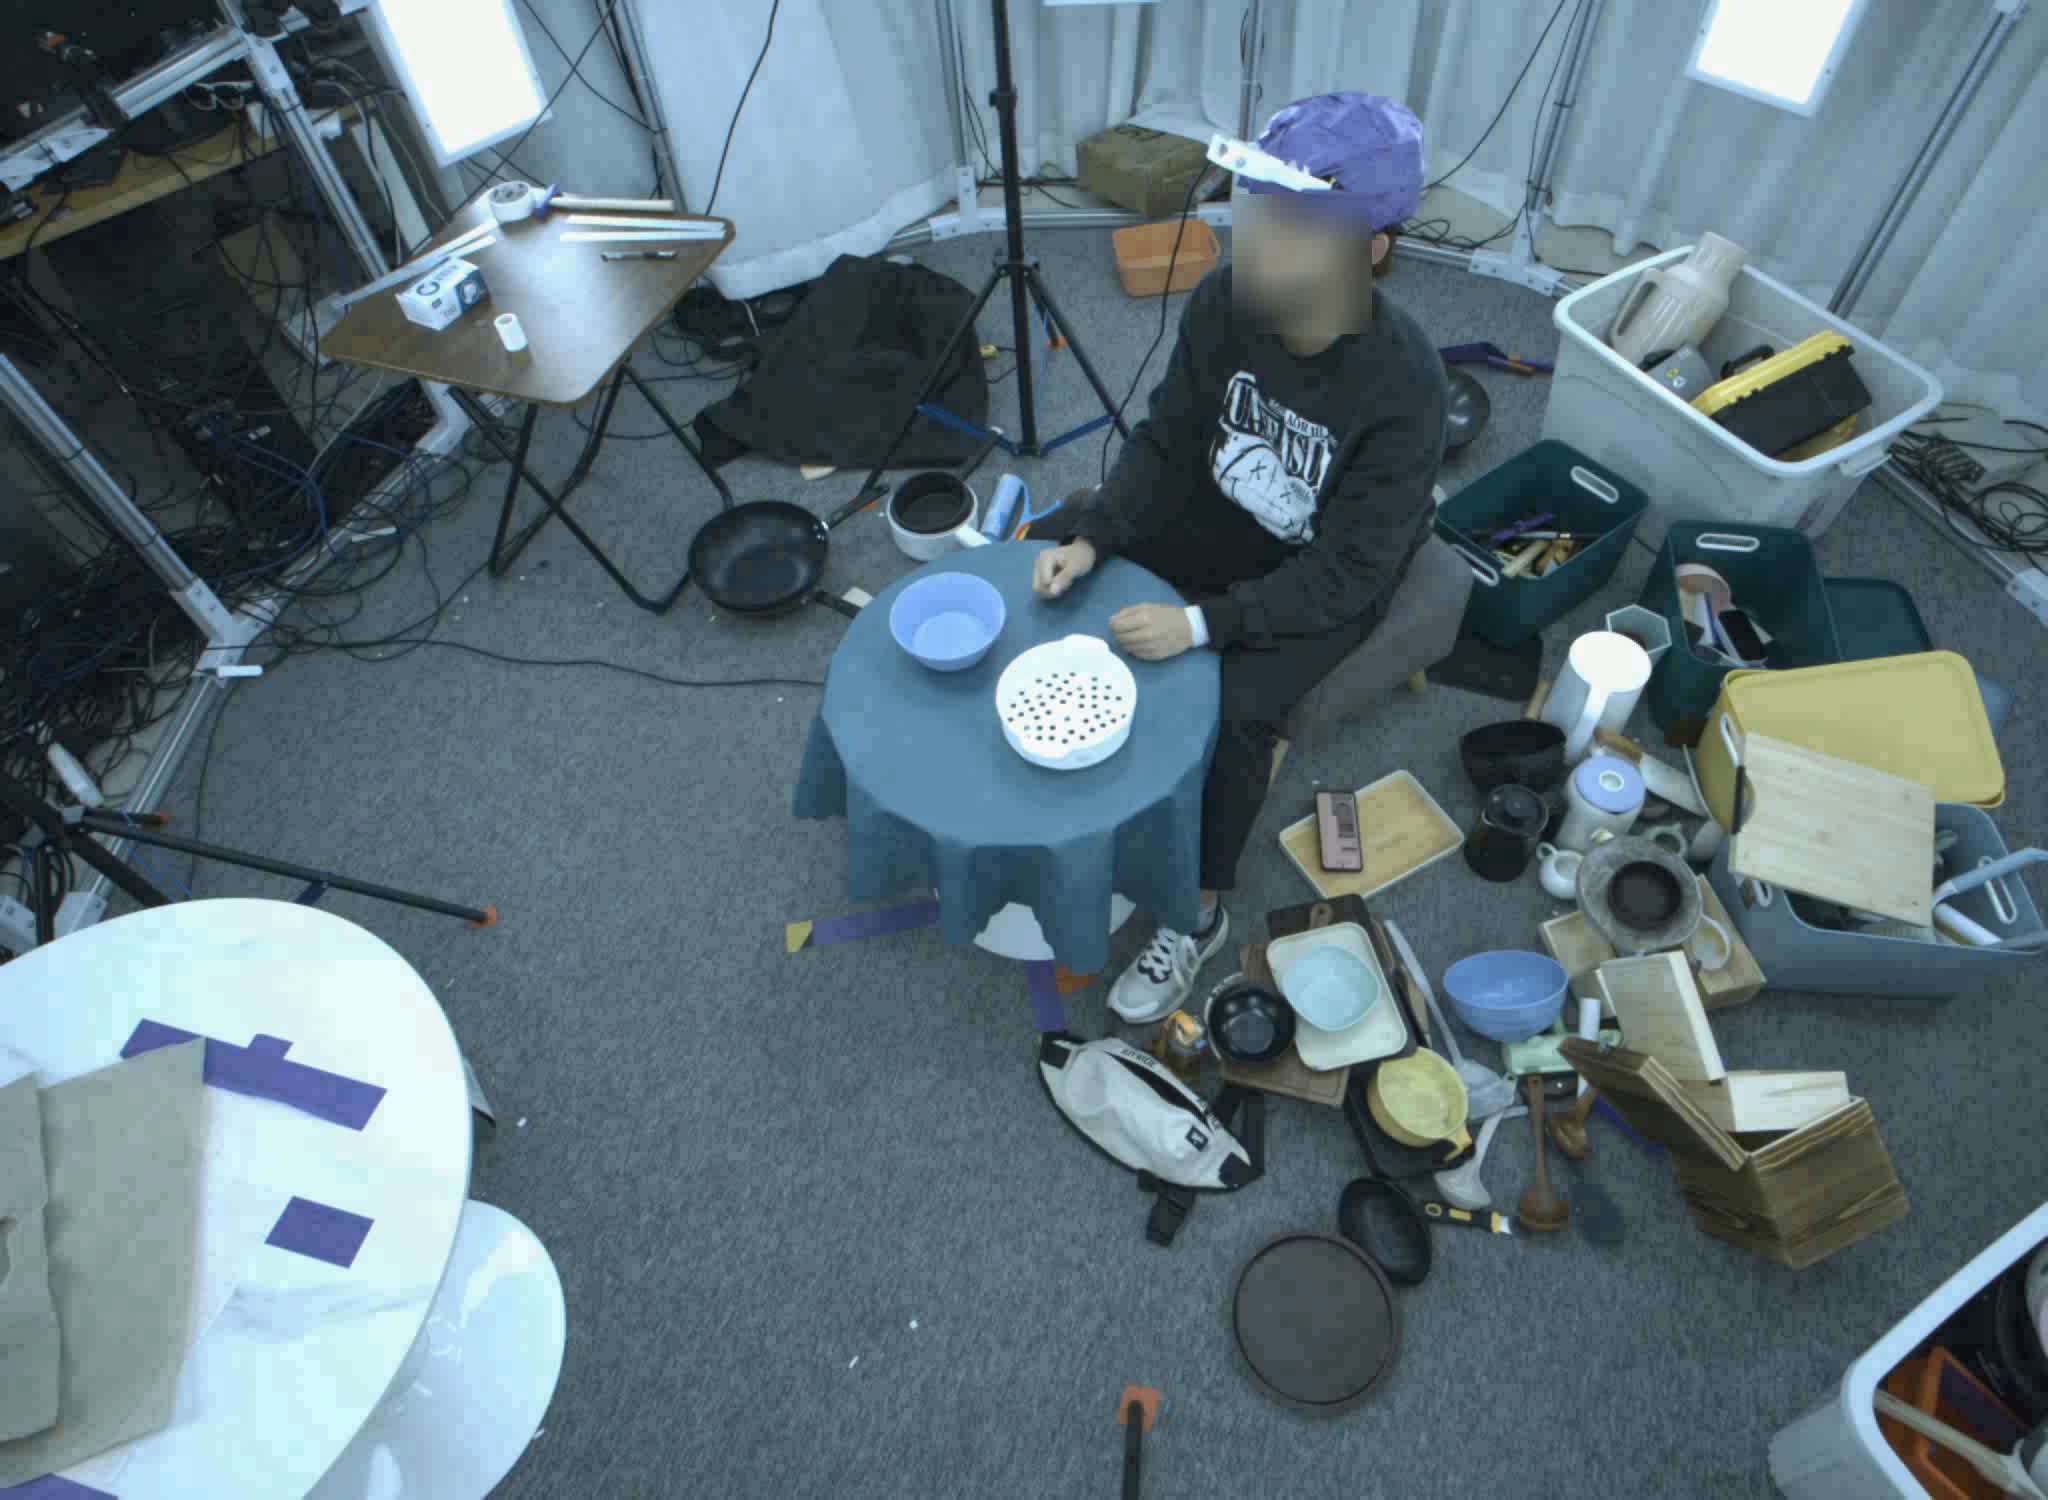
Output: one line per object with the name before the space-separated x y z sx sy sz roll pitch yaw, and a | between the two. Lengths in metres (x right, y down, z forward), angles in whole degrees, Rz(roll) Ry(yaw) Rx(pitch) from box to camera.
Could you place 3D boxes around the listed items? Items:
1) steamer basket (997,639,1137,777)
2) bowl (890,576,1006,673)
steamer basket | 0.064 -0.056 1.793 0.200 0.070 0.230 13 59 11
bowl | -0.115 -0.184 1.887 0.176 0.071 0.174 0 56 1
